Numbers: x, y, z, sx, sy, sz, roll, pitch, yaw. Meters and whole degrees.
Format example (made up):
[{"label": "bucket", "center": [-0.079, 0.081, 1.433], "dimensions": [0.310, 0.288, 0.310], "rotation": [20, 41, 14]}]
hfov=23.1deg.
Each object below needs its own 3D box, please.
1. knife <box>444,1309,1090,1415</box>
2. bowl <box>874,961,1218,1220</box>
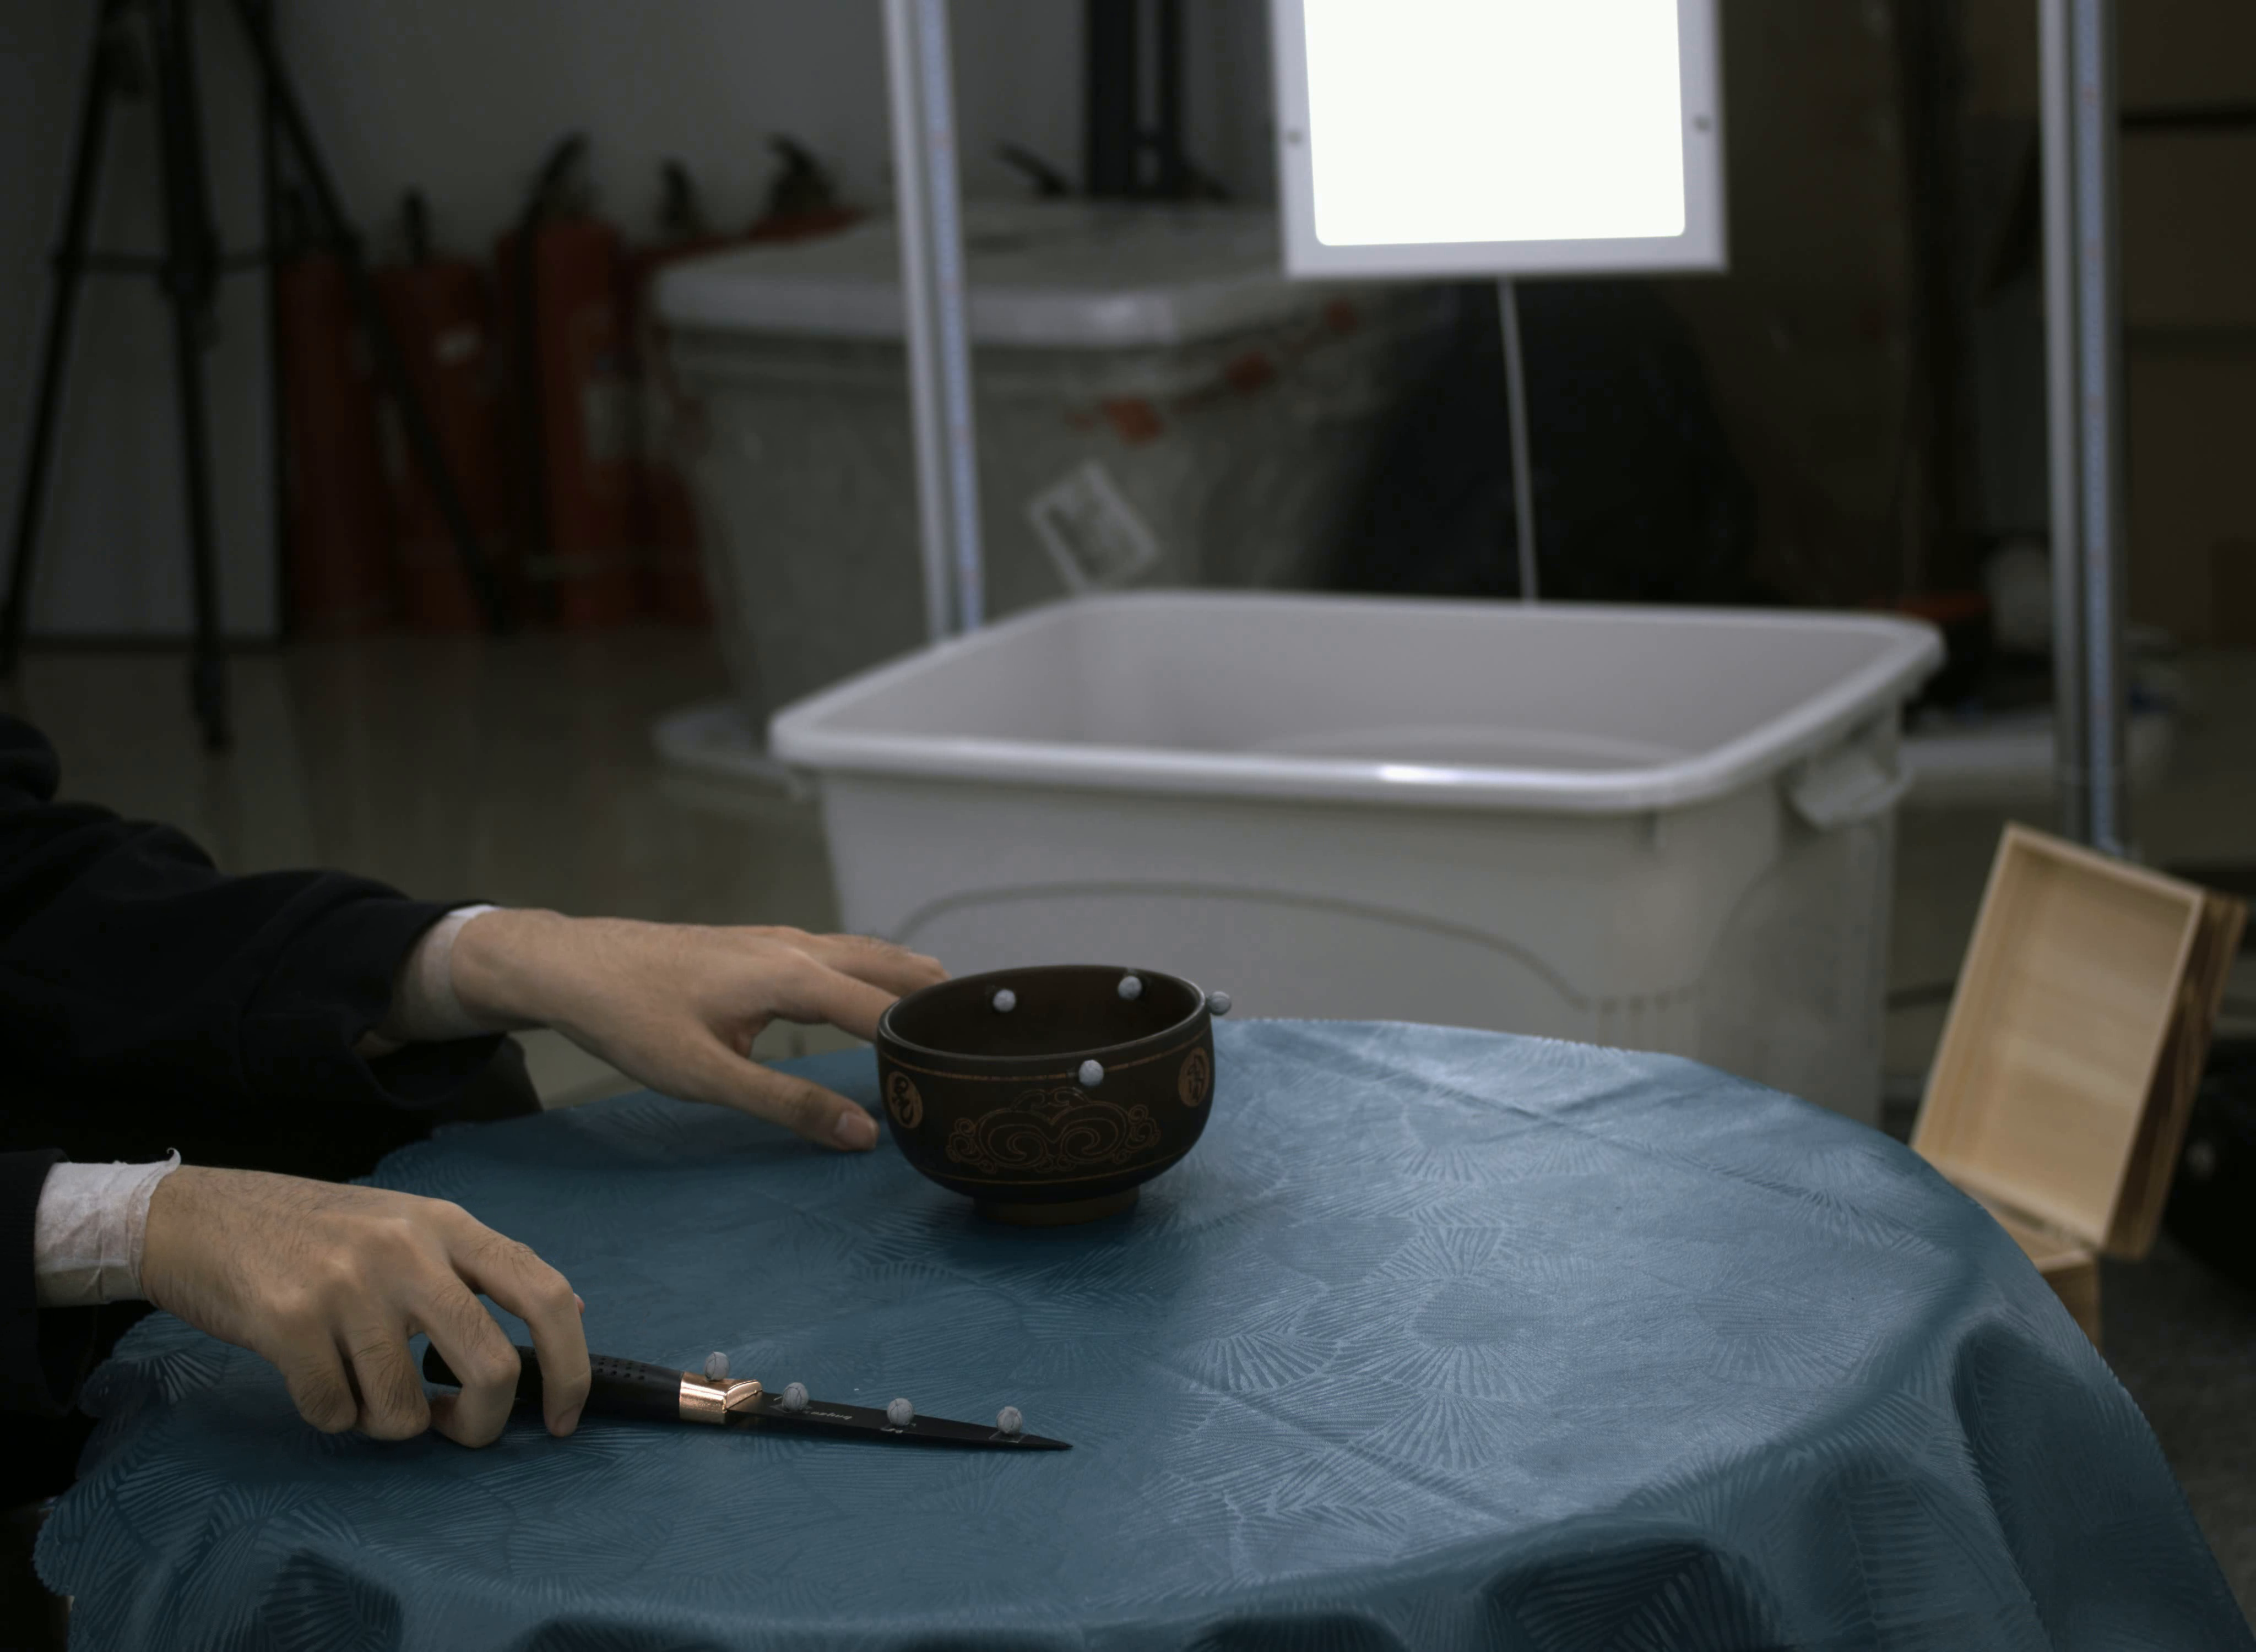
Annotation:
[{"label": "knife", "center": [-0.114, 0.169, 1.708], "dimensions": [0.229, 0.026, 0.017], "rotation": [4, -8, 27]}, {"label": "bowl", "center": [-0.026, 0.094, 1.883], "dimensions": [0.118, 0.070, 0.118], "rotation": [-7, 12, 0]}]
